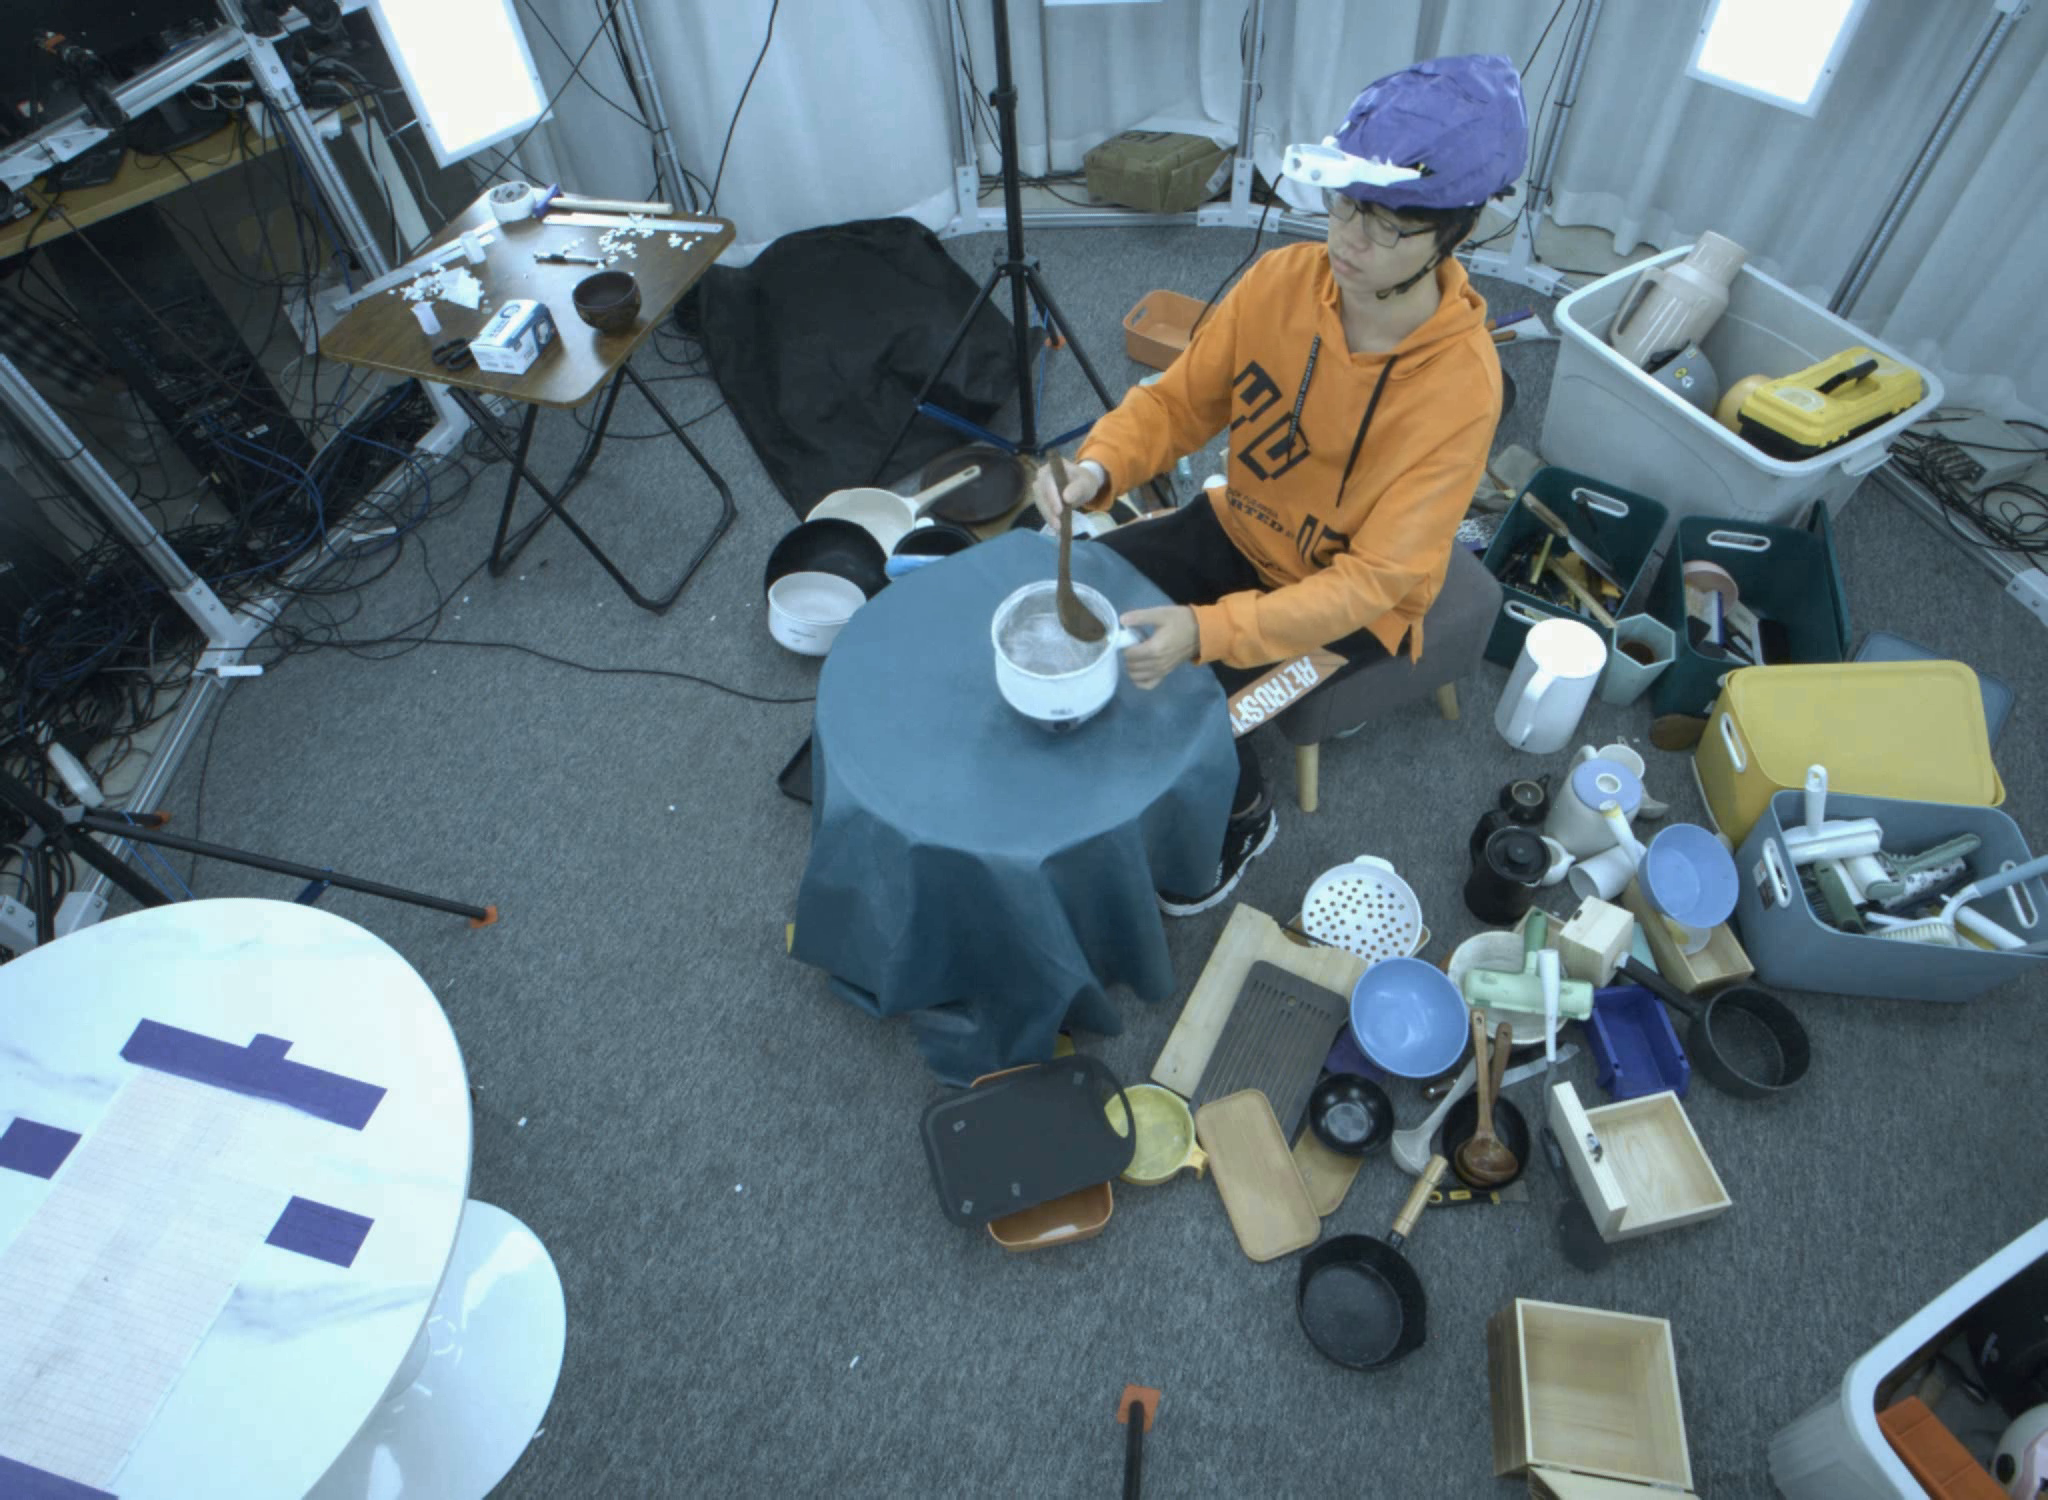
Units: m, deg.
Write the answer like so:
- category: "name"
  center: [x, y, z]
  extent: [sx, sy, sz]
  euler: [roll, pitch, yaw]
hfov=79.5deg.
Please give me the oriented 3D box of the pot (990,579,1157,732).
- category: "pot"
  center: [0.073, -0.136, 1.752]
  extent: [0.234, 0.138, 0.176]
  euler: [-6, 58, -1]

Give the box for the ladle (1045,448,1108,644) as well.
- category: "ladle"
  center: [0.070, -0.281, 1.679]
  extent: [0.070, 0.275, 0.077]
  euler: [1, 11, 30]
